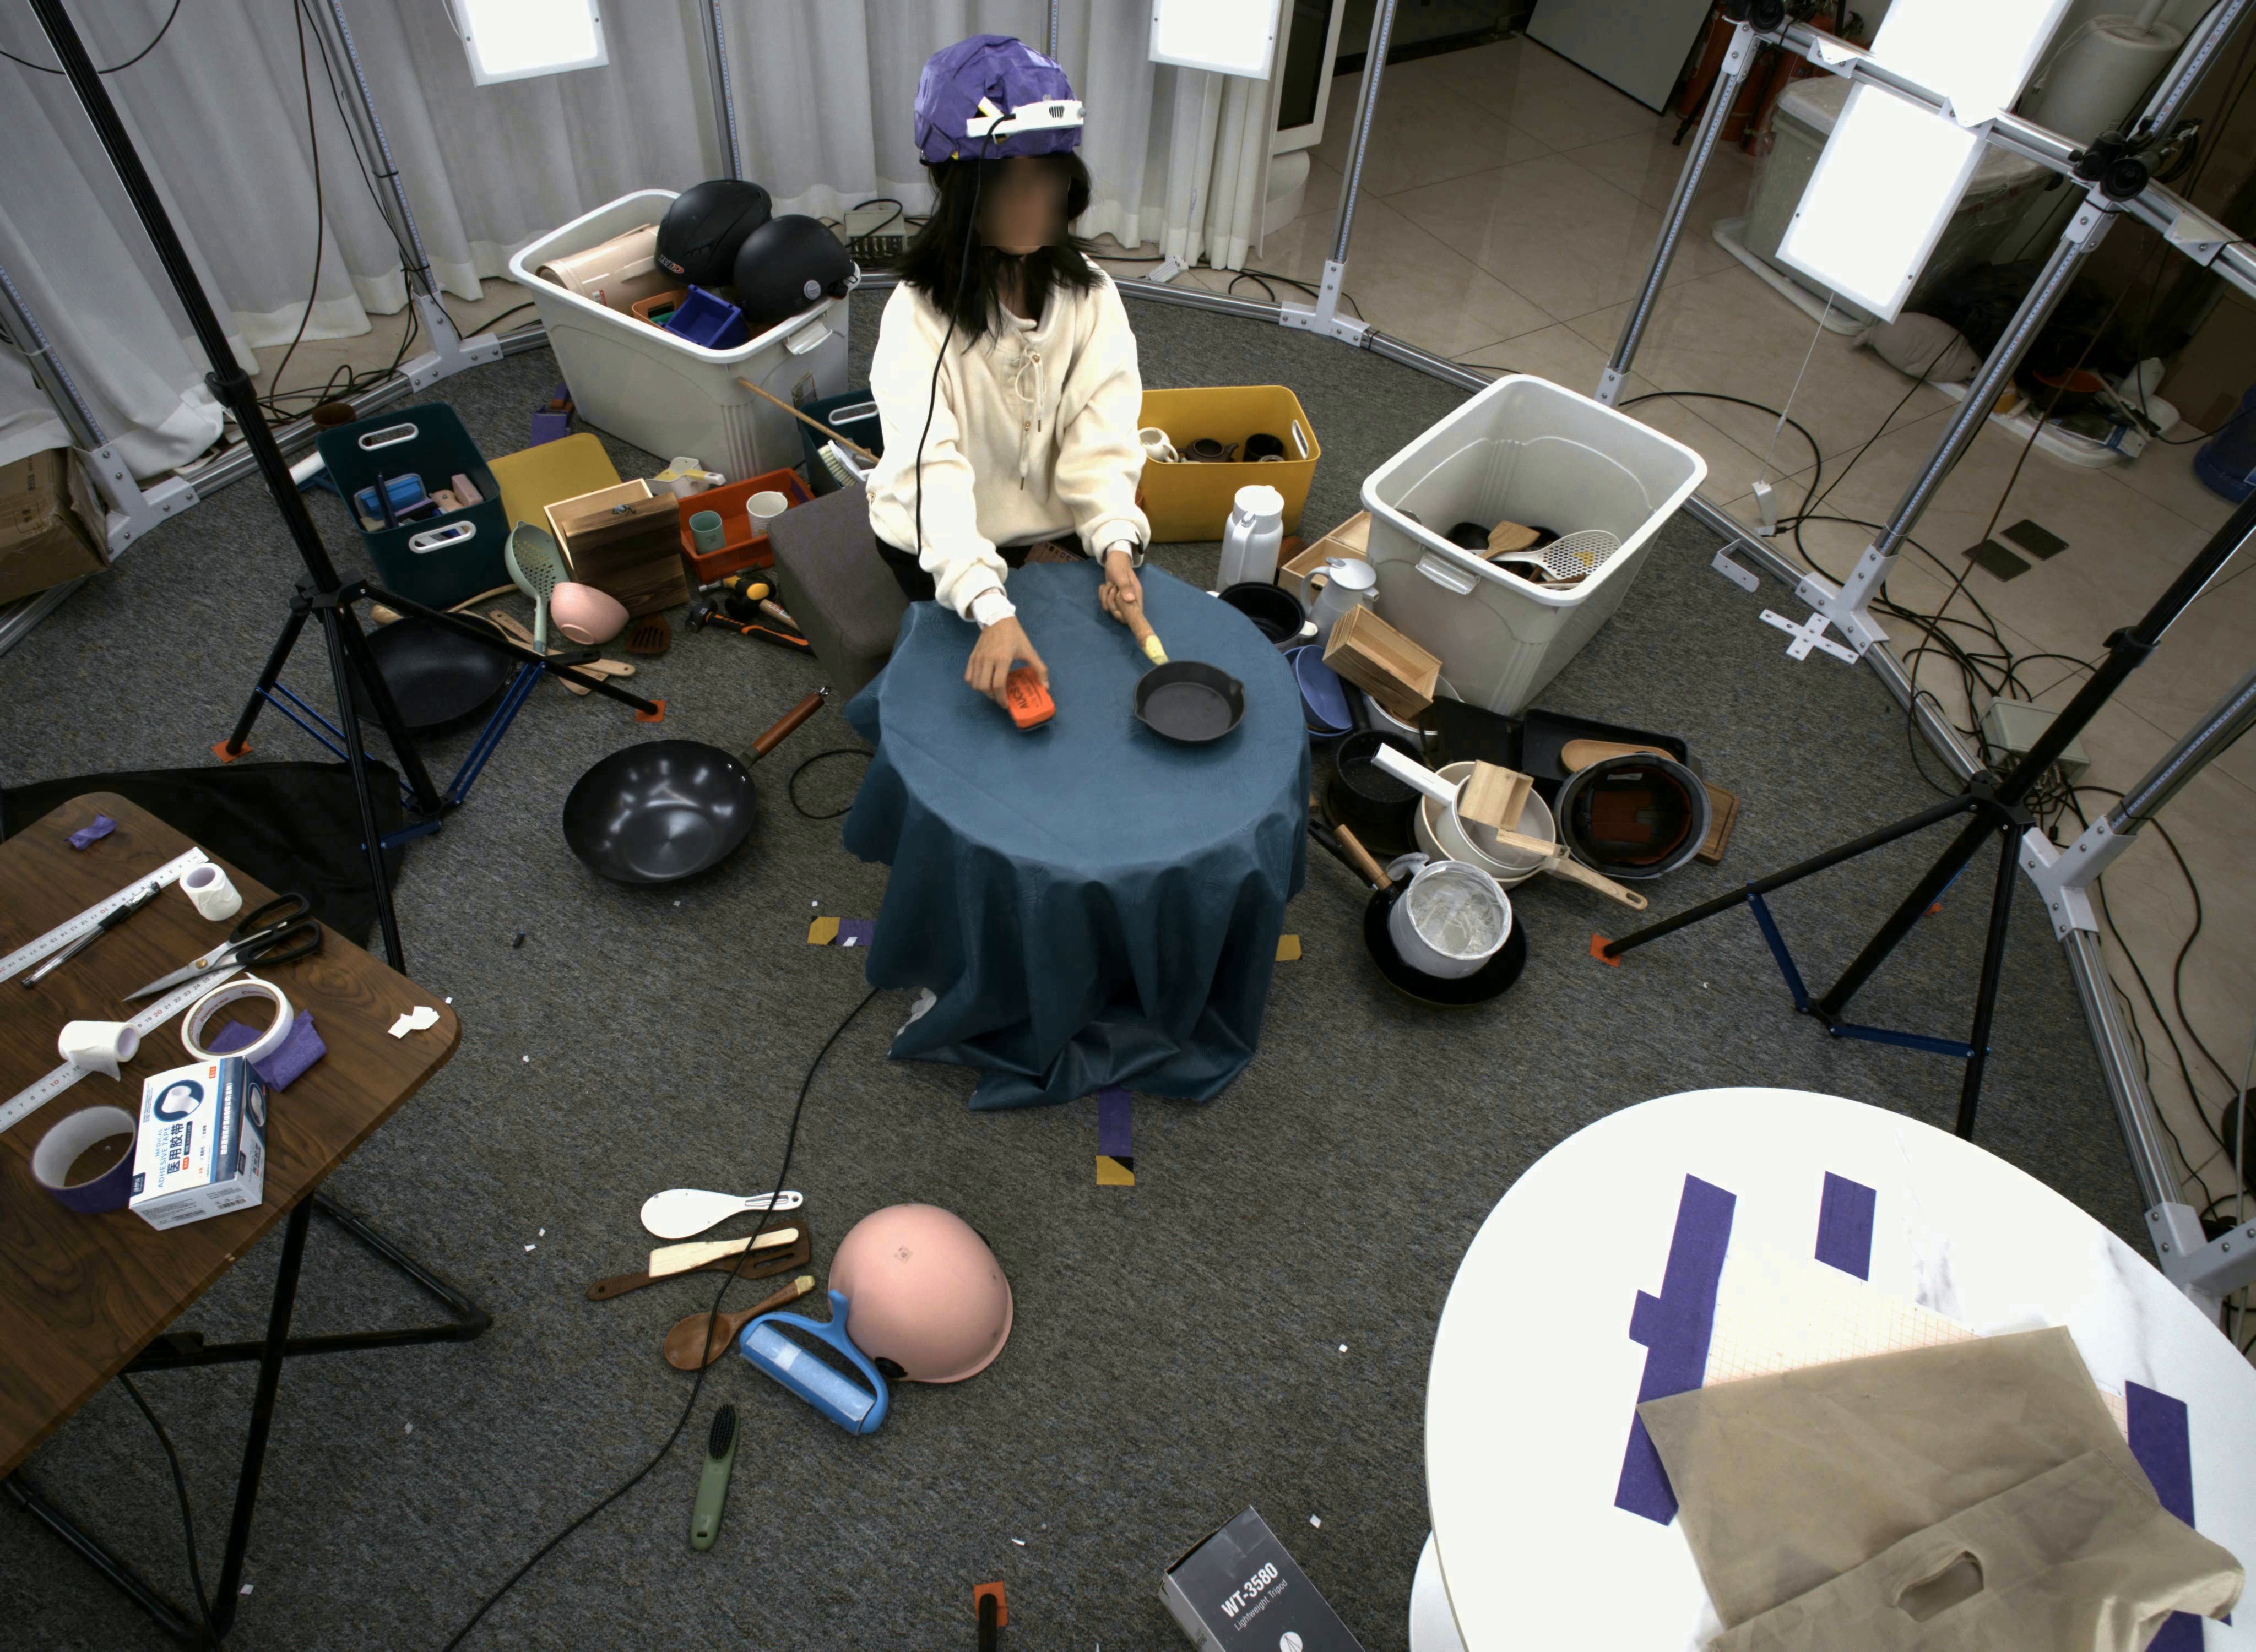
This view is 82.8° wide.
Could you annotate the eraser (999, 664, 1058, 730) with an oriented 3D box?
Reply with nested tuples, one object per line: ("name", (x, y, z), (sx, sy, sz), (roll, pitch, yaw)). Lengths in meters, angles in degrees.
("eraser", (-0.139, -0.181, 1.789), (0.059, 0.022, 0.110), (-21, 45, -7))

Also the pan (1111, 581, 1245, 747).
("pan", (0.050, -0.235, 1.843), (0.169, 0.048, 0.331), (-17, 54, -17))
